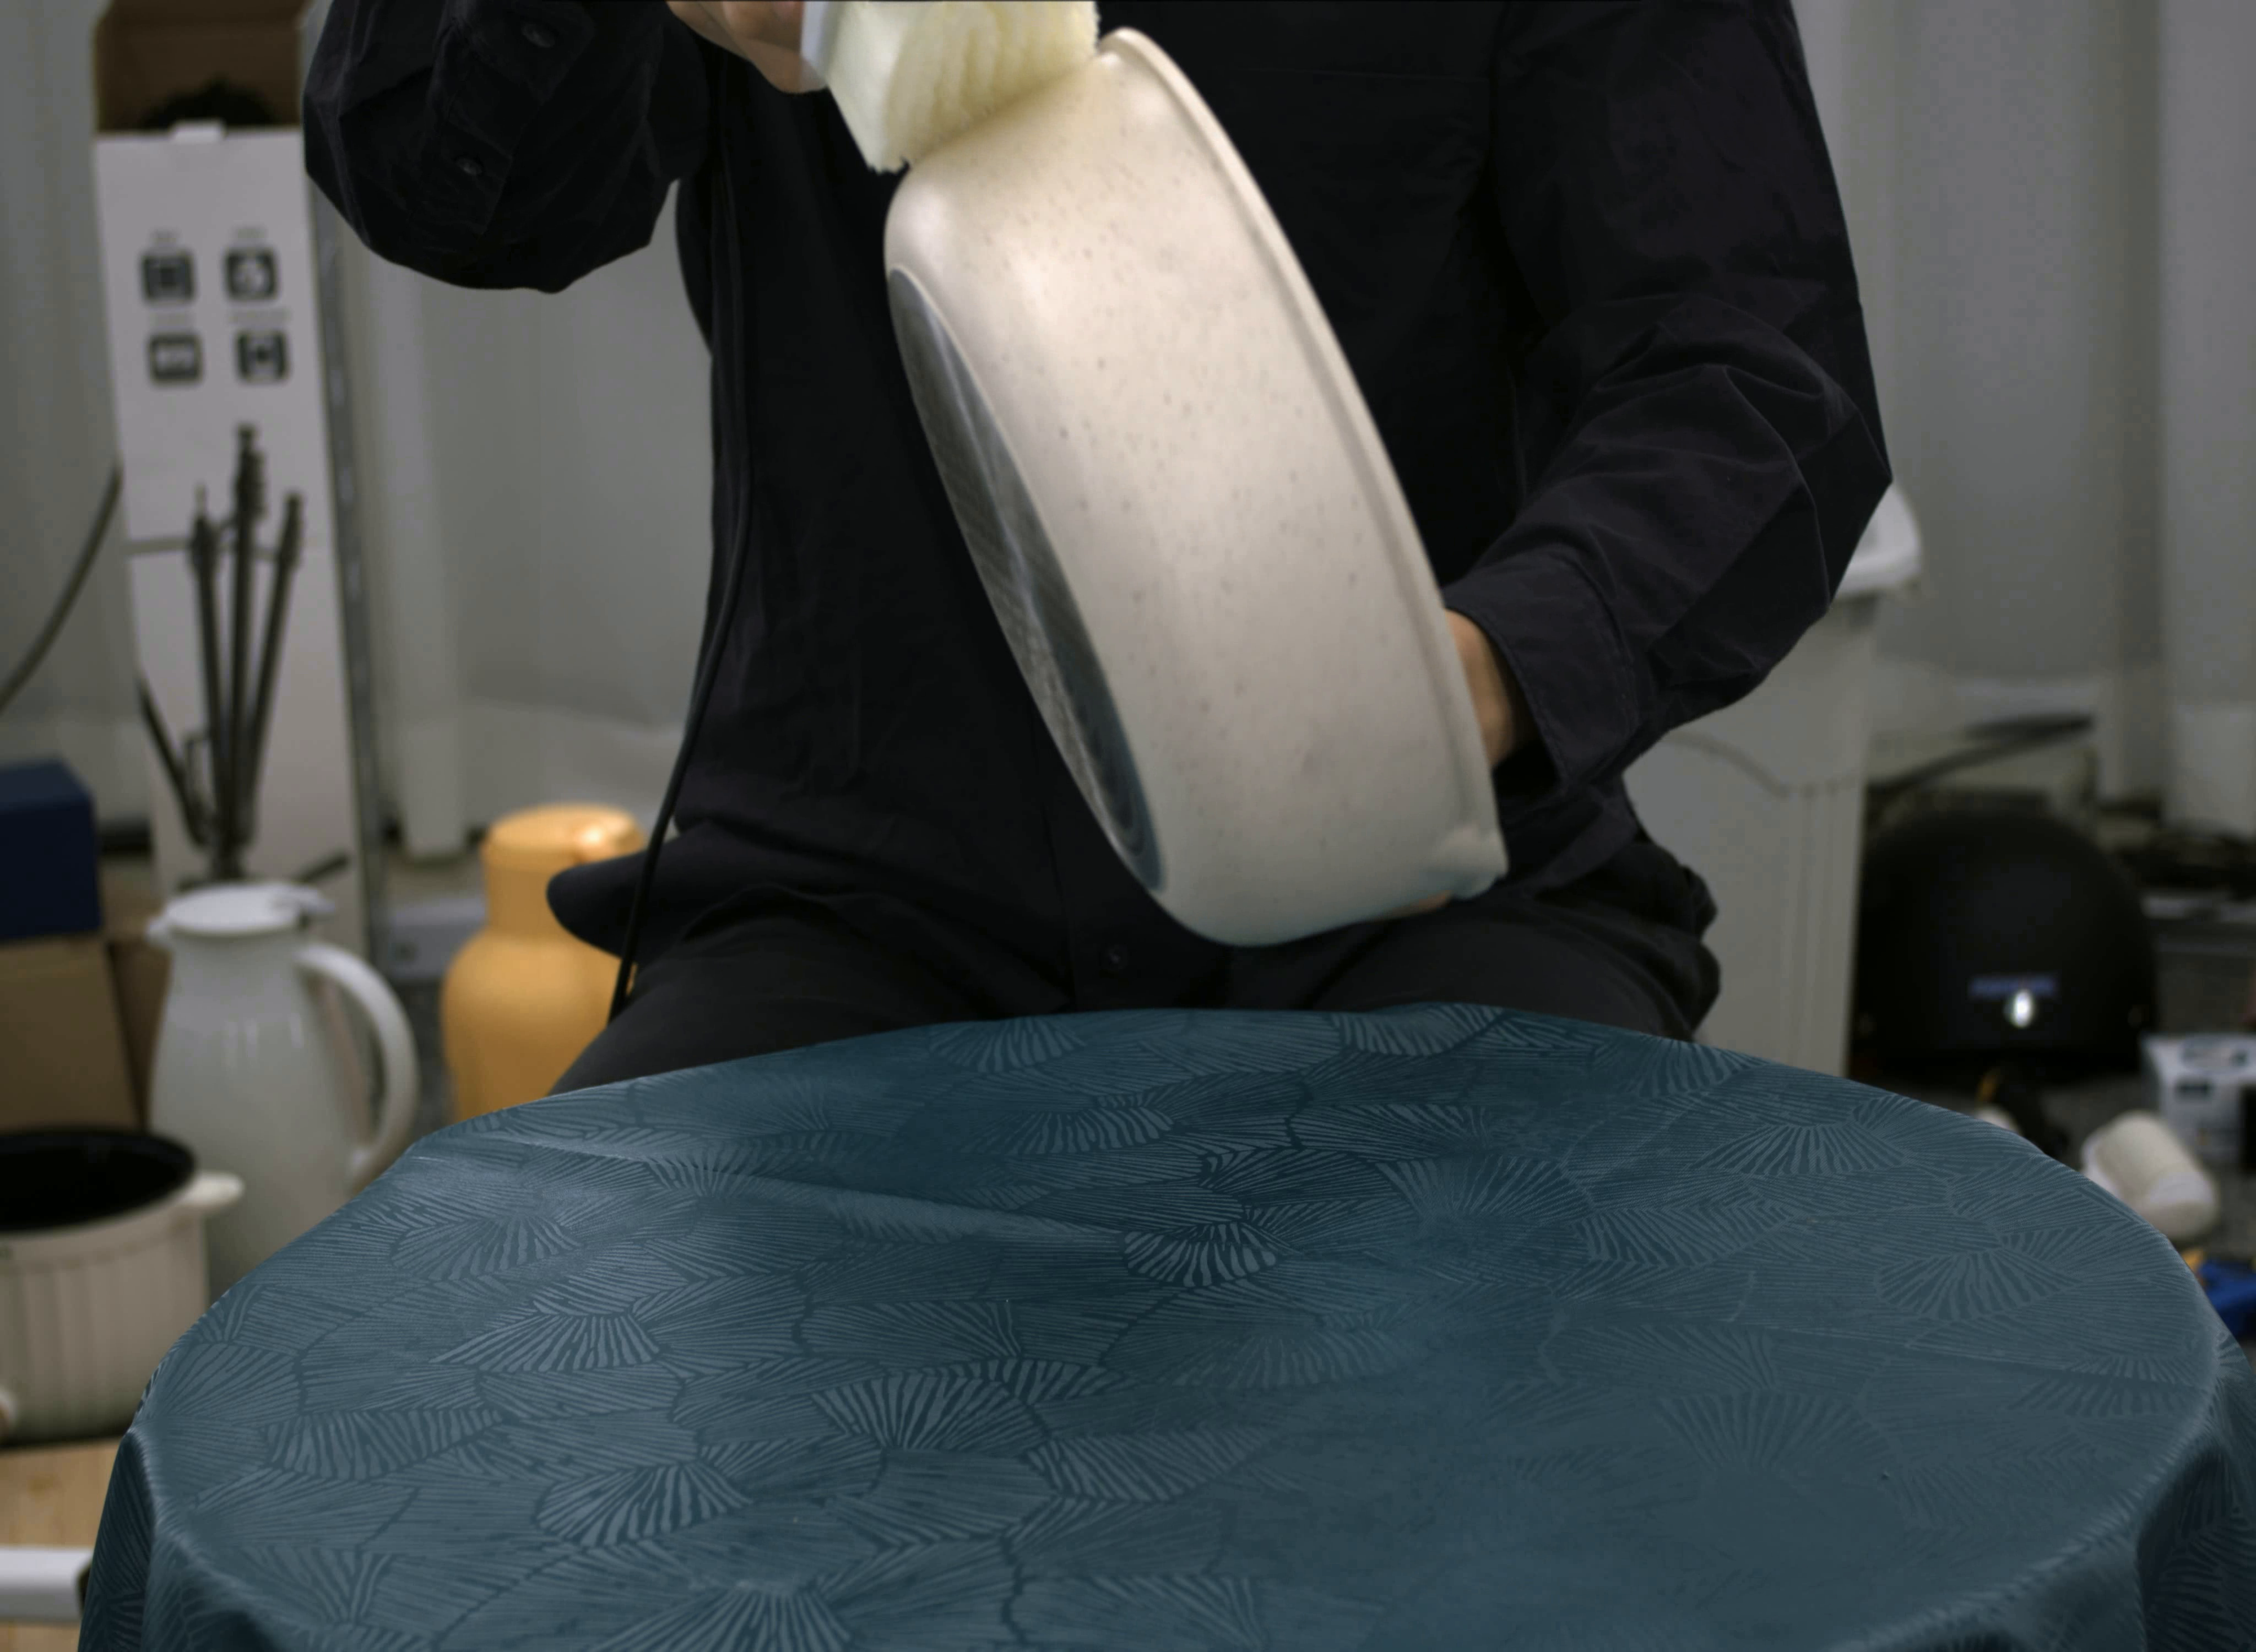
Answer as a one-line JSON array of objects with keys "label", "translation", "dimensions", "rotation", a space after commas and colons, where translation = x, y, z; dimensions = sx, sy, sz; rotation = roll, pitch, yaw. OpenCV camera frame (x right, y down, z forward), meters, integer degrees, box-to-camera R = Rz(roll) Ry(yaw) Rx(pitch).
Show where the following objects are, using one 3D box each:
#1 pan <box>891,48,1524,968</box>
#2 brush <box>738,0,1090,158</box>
[{"label": "pan", "translation": [0.022, -0.046, 1.553], "dimensions": [0.102, 0.266, 0.430], "rotation": [-24, -21, -7]}, {"label": "brush", "translation": [-0.060, -0.217, 1.519], "dimensions": [0.082, 0.085, 0.325], "rotation": [9, -2, -9]}]
